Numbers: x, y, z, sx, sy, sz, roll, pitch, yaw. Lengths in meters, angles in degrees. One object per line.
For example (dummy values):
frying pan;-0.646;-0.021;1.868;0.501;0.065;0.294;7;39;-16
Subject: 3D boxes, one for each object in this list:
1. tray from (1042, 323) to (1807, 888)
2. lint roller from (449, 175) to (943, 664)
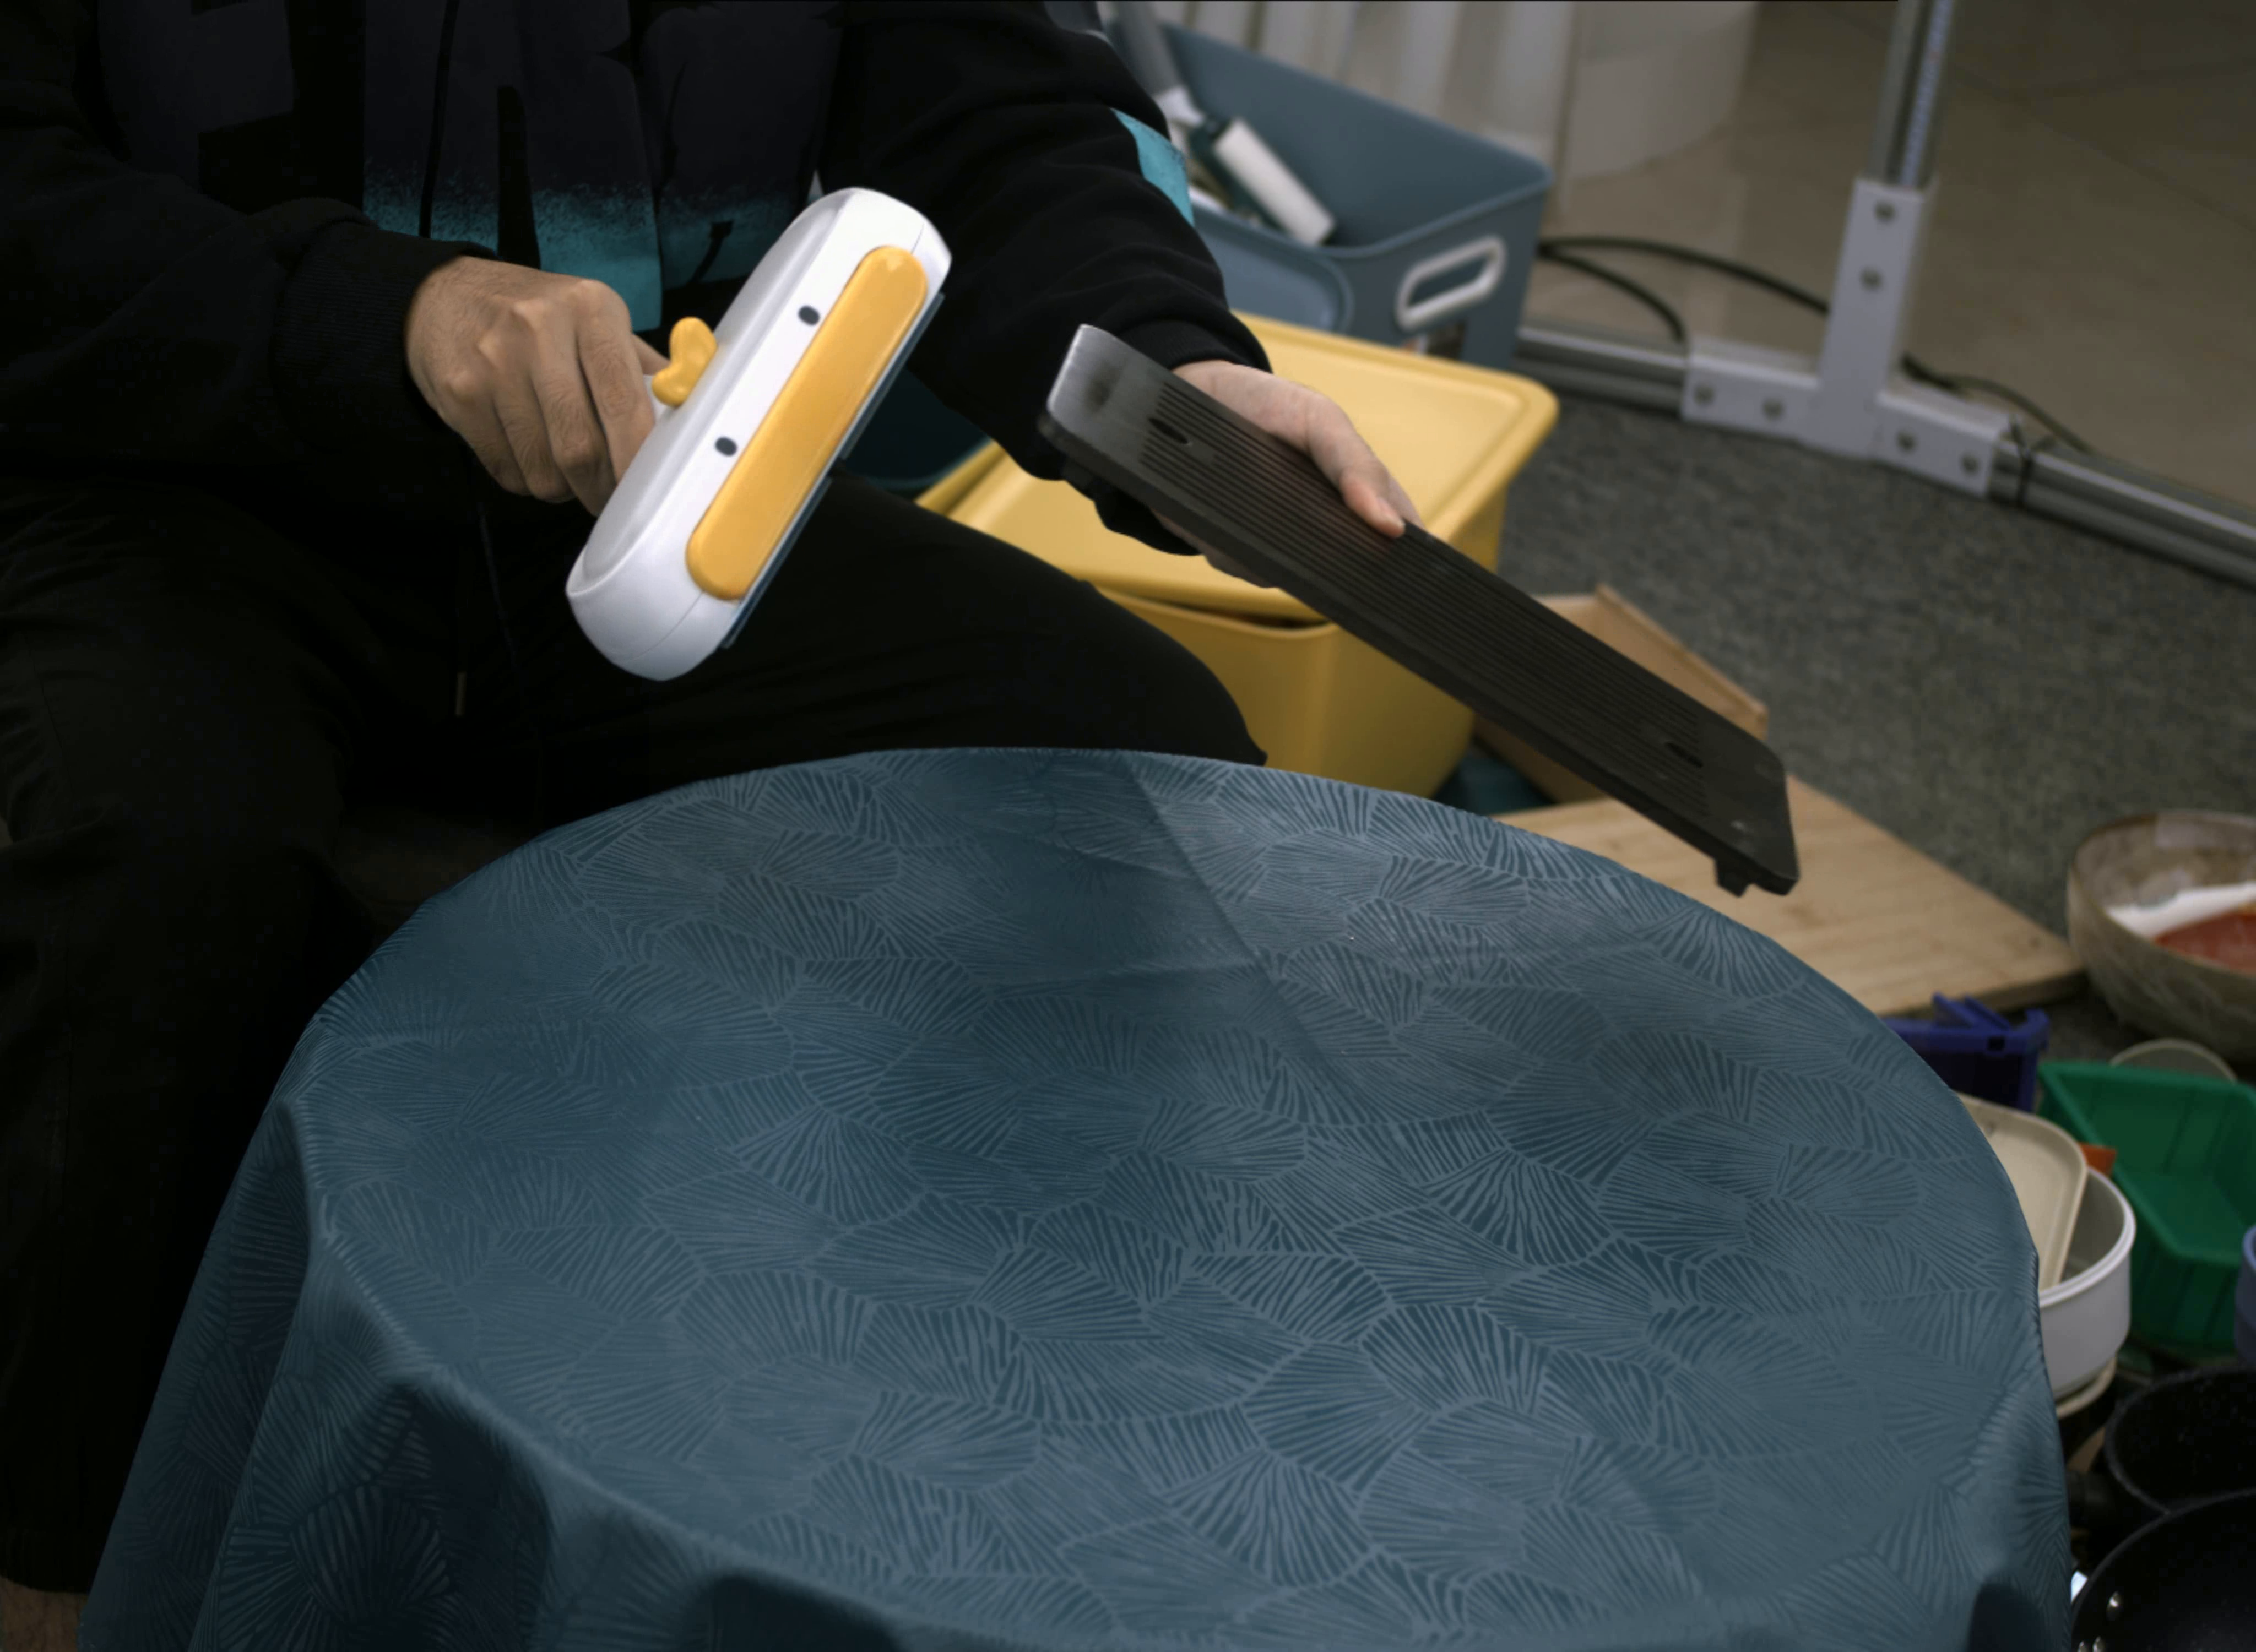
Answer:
tray;0.104;-0.077;1.873;0.305;0.018;0.170;31;16;-4
lint roller;-0.168;-0.141;1.883;0.073;0.193;0.193;37;-26;-29
